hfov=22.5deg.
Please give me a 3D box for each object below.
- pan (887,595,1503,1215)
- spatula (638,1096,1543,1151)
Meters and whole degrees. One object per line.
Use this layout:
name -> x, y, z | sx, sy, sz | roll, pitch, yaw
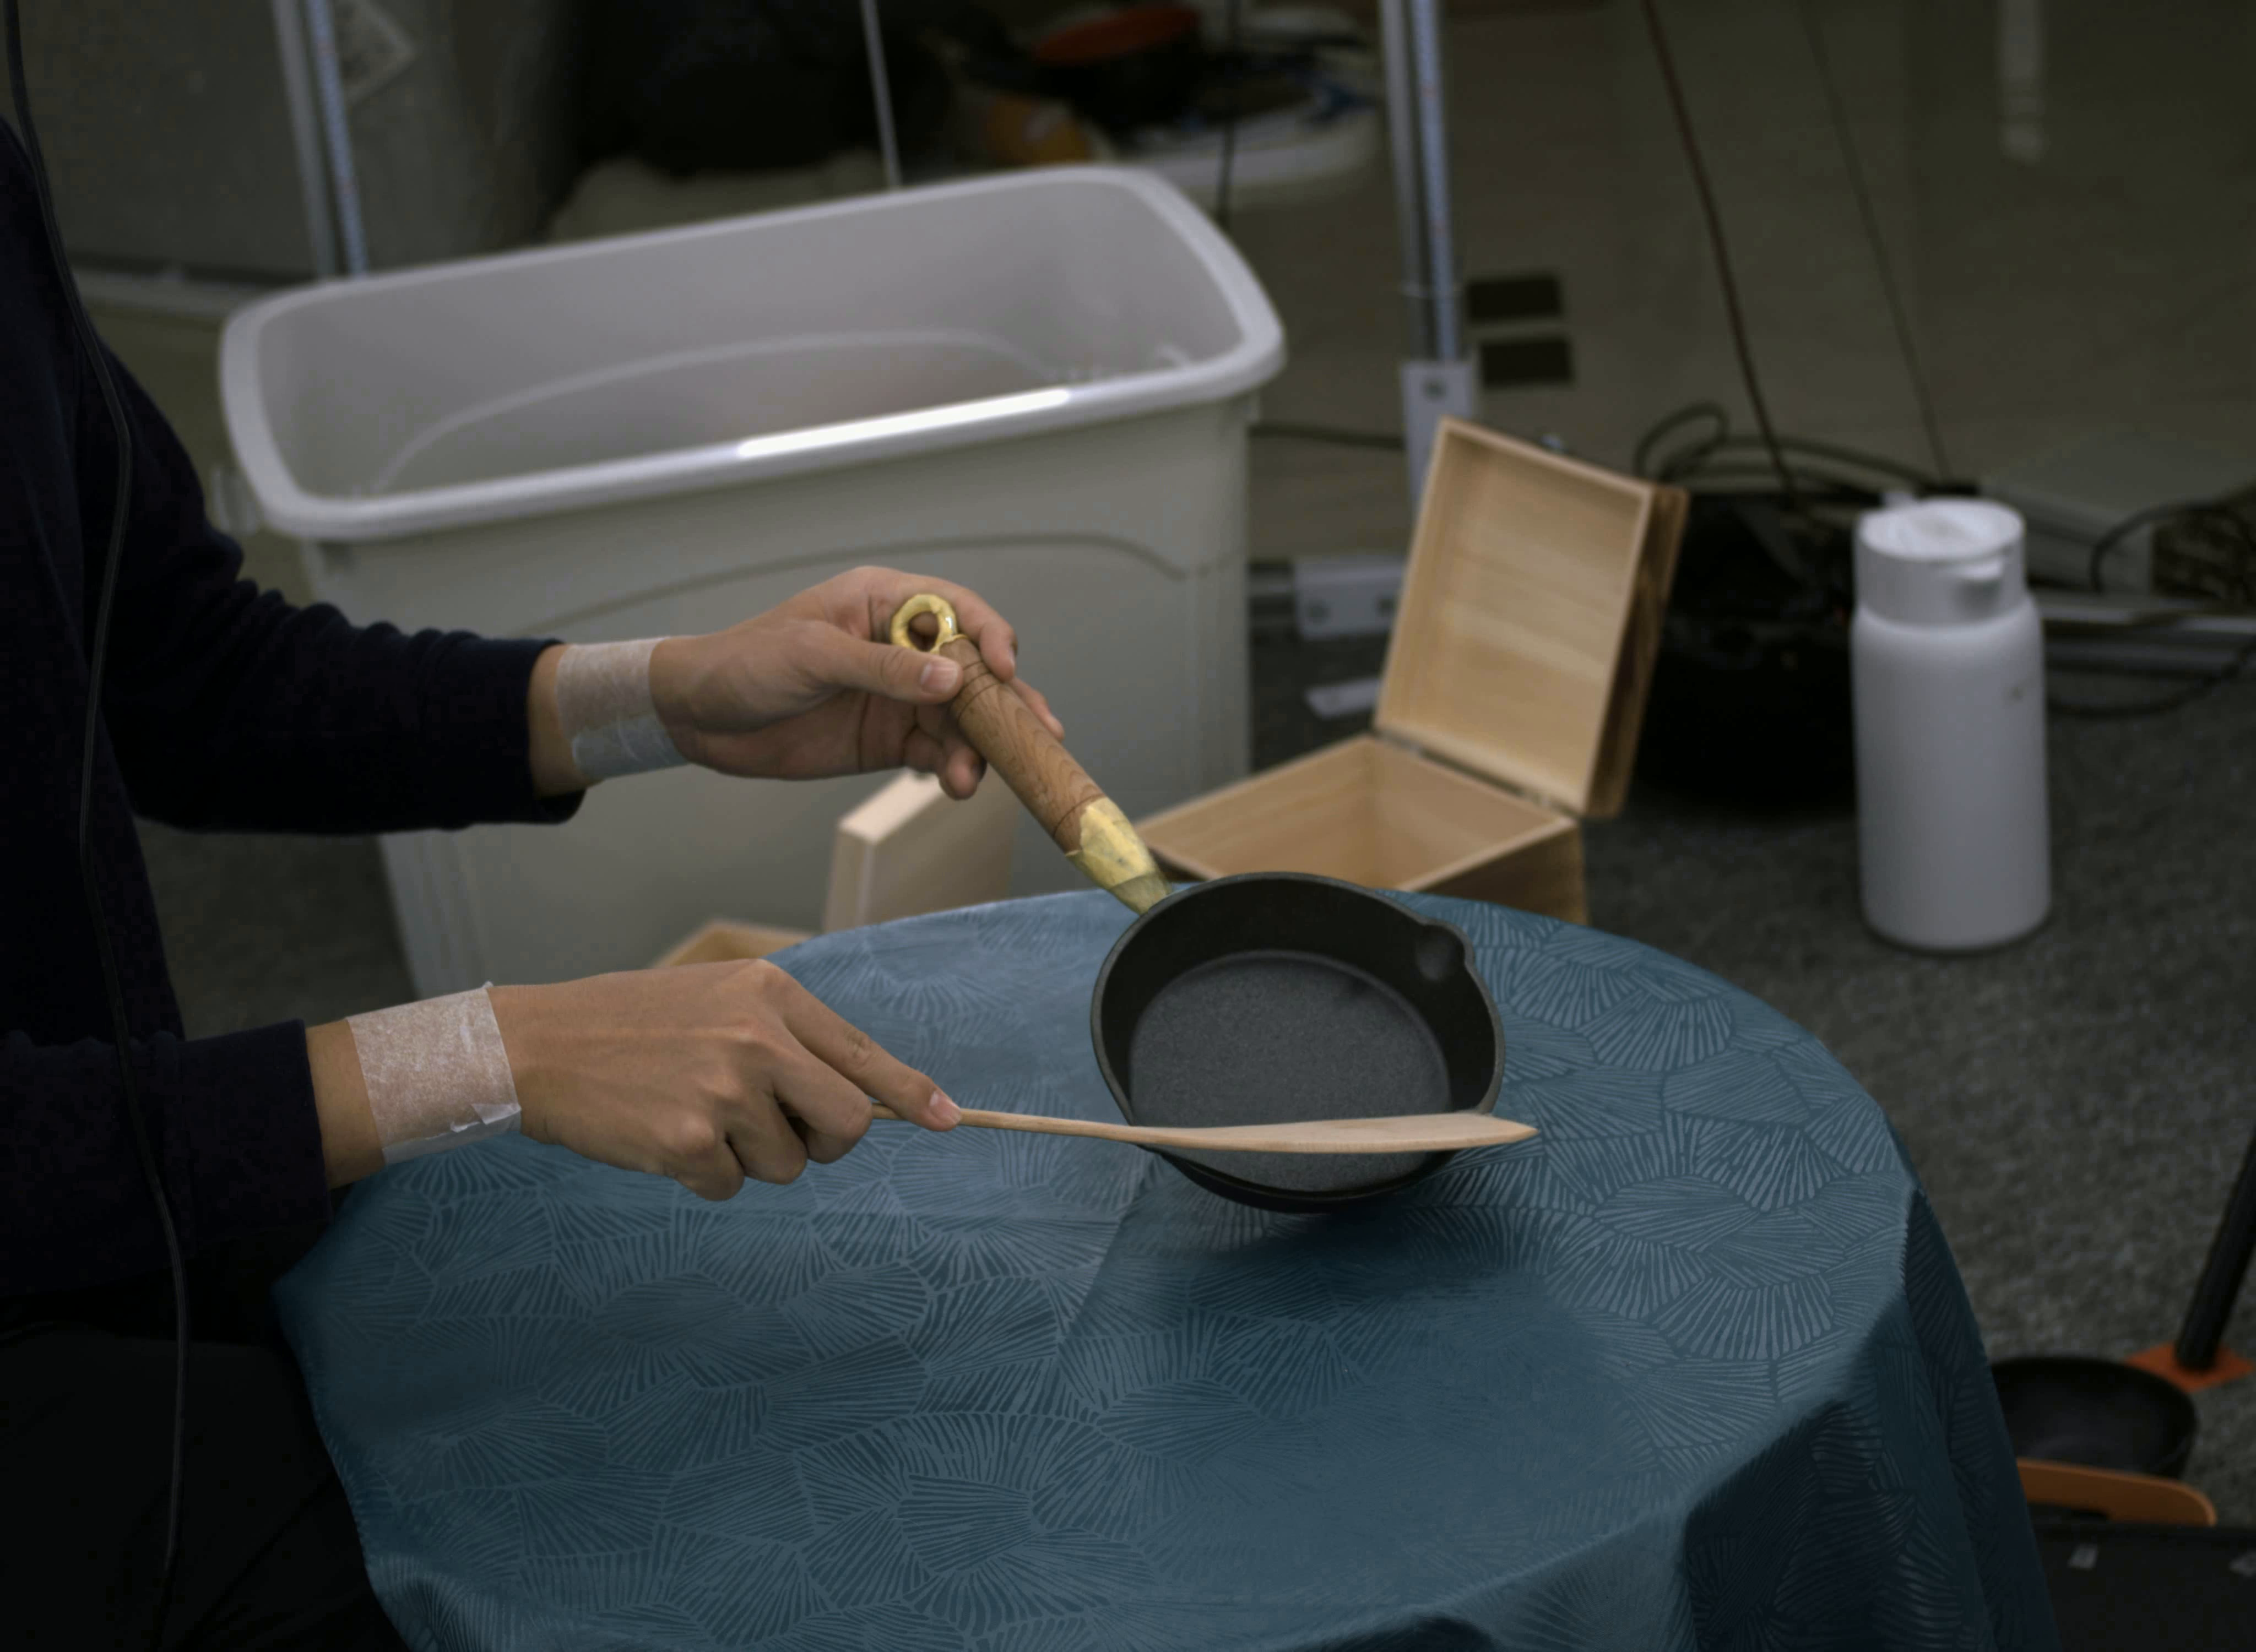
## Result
pan -> 0.011, 0.028, 2.172 | 0.167, 0.050, 0.320 | -29, 61, -27
spatula -> -0.016, 0.105, 2.058 | 0.327, 0.016, 0.080 | 4, 0, -13
